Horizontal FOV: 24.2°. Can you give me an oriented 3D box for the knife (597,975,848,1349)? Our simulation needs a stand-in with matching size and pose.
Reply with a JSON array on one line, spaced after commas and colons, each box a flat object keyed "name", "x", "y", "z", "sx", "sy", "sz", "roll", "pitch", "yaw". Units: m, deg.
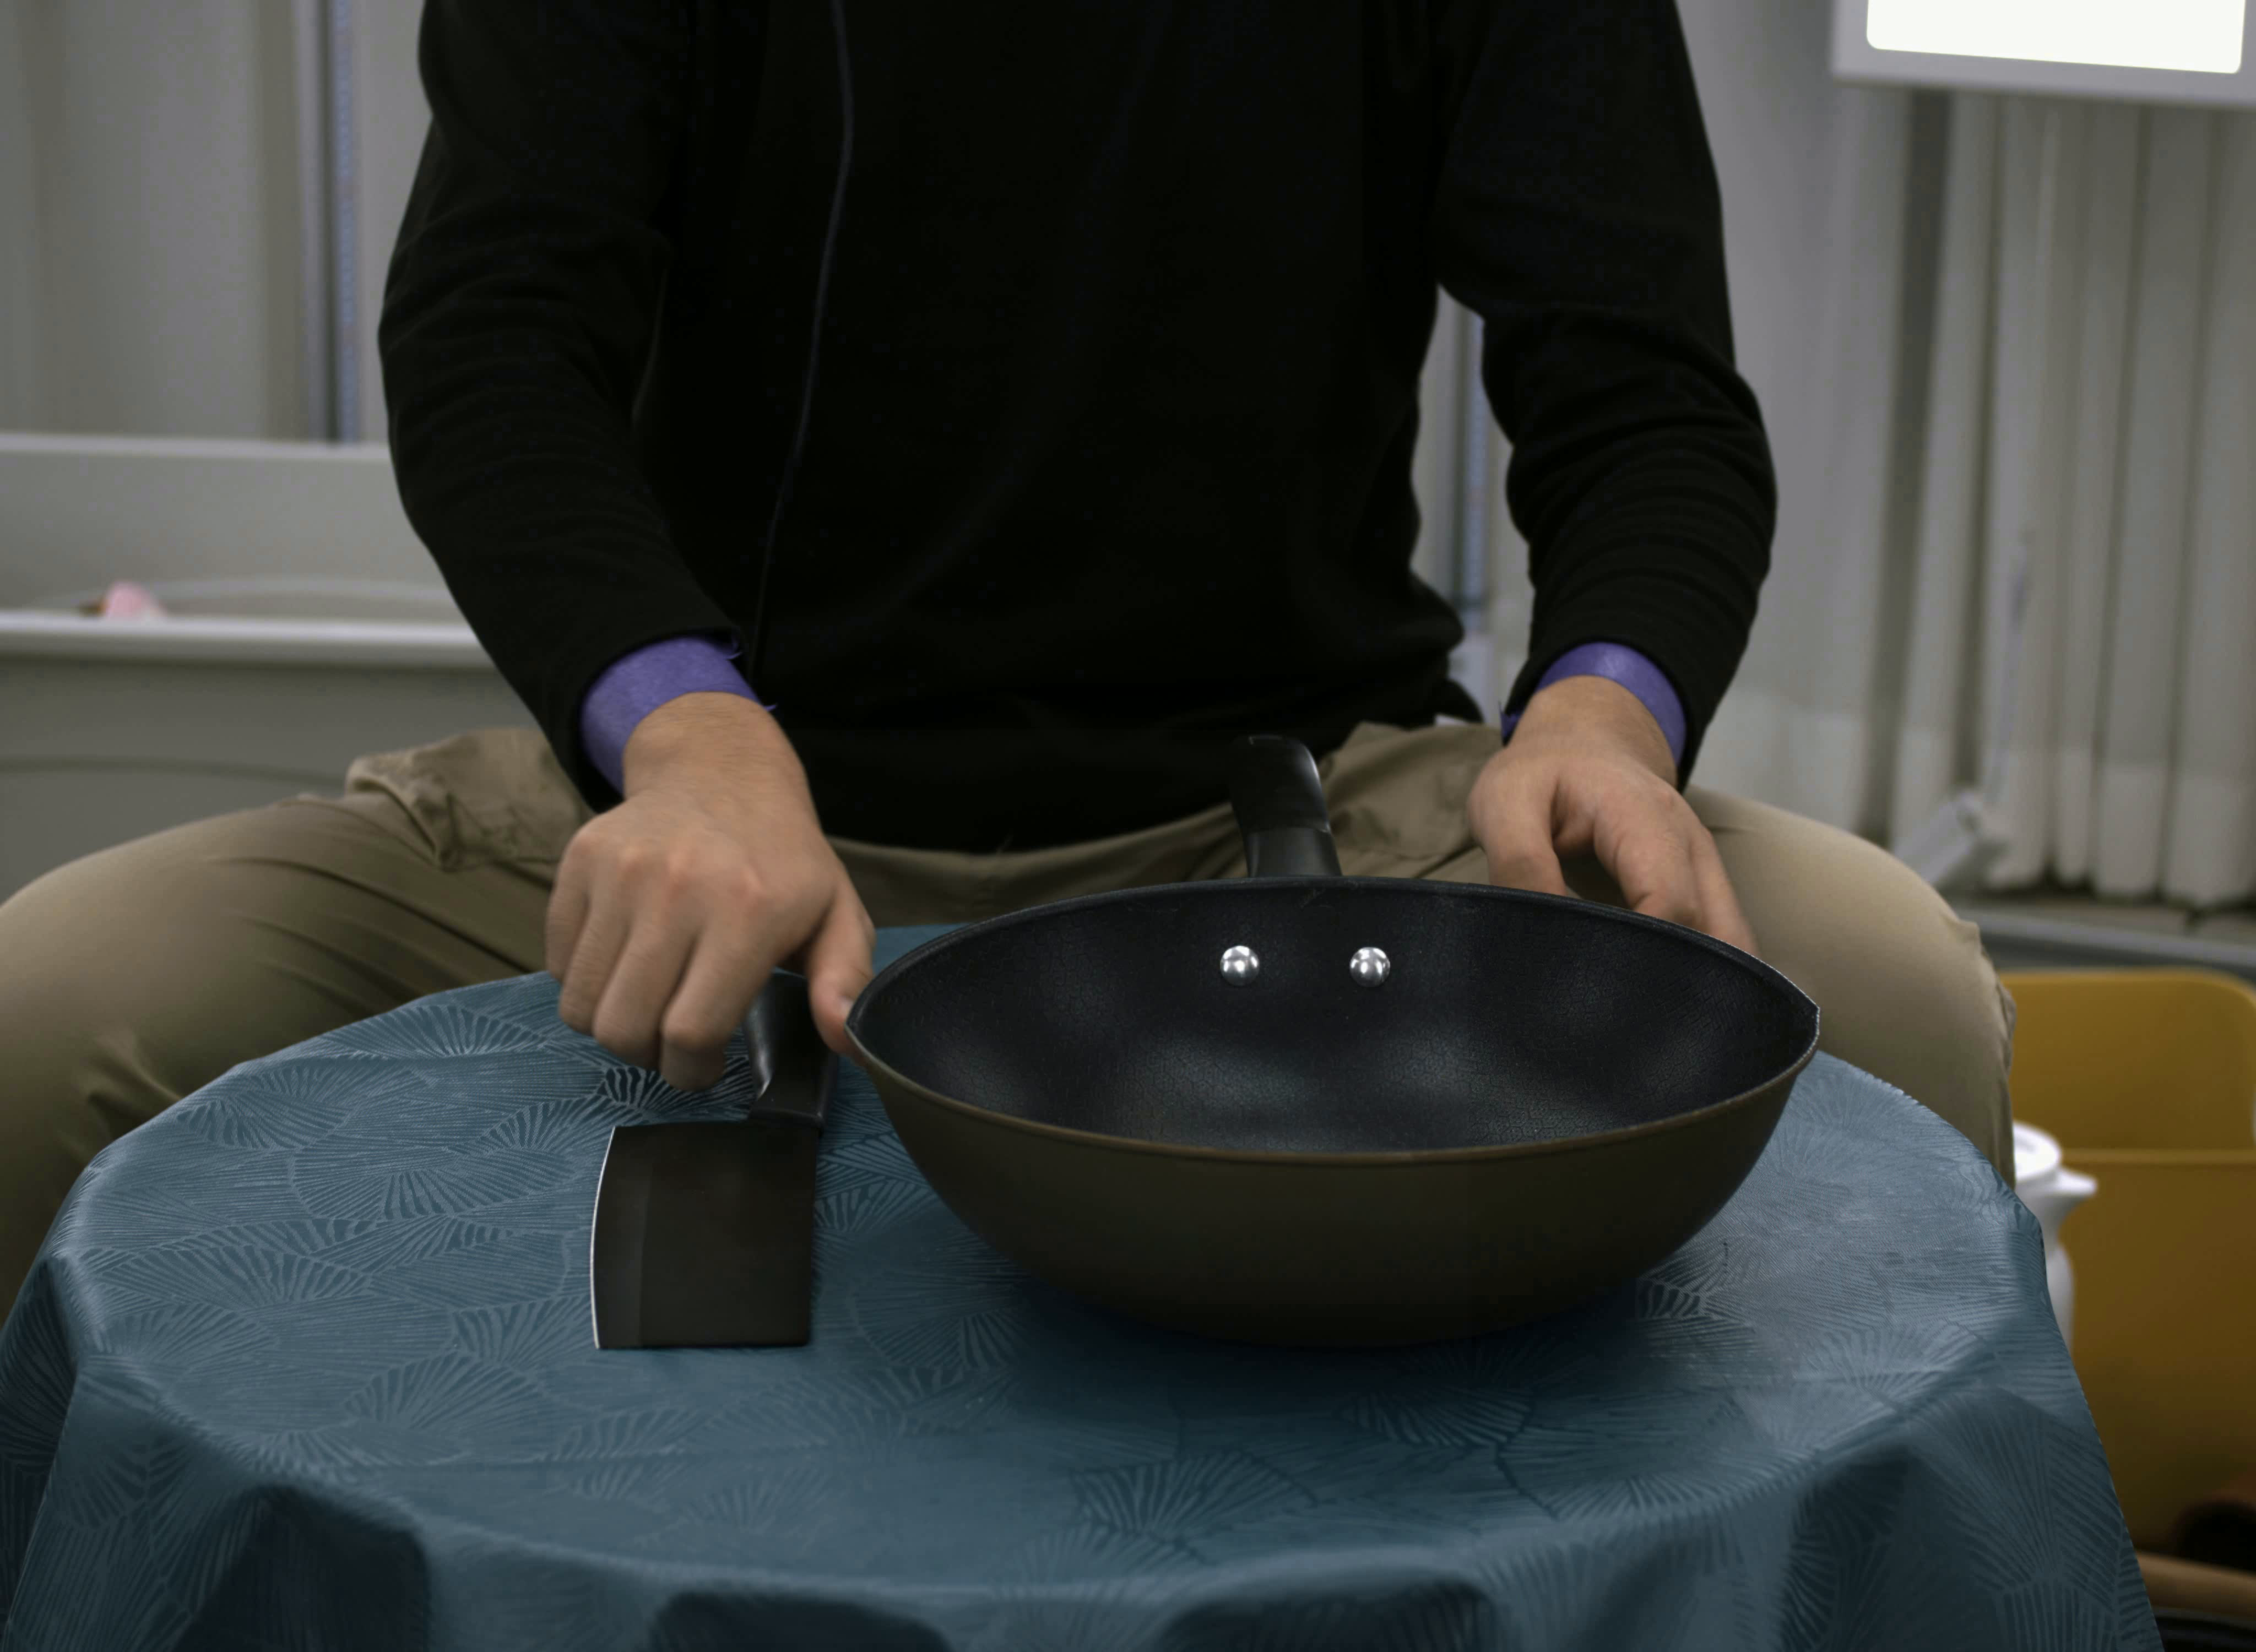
[{"name": "knife", "x": -0.122, "y": 0.103, "z": 1.629, "sx": 0.080, "sy": 0.021, "sz": 0.301, "roll": 0, "pitch": 17, "yaw": 3}]

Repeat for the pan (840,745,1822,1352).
[{"name": "pan", "x": 0.057, "y": 0.066, "z": 1.635, "sx": 0.287, "sy": 0.087, "sz": 0.460, "roll": 0, "pitch": 15, "yaw": -2}]
